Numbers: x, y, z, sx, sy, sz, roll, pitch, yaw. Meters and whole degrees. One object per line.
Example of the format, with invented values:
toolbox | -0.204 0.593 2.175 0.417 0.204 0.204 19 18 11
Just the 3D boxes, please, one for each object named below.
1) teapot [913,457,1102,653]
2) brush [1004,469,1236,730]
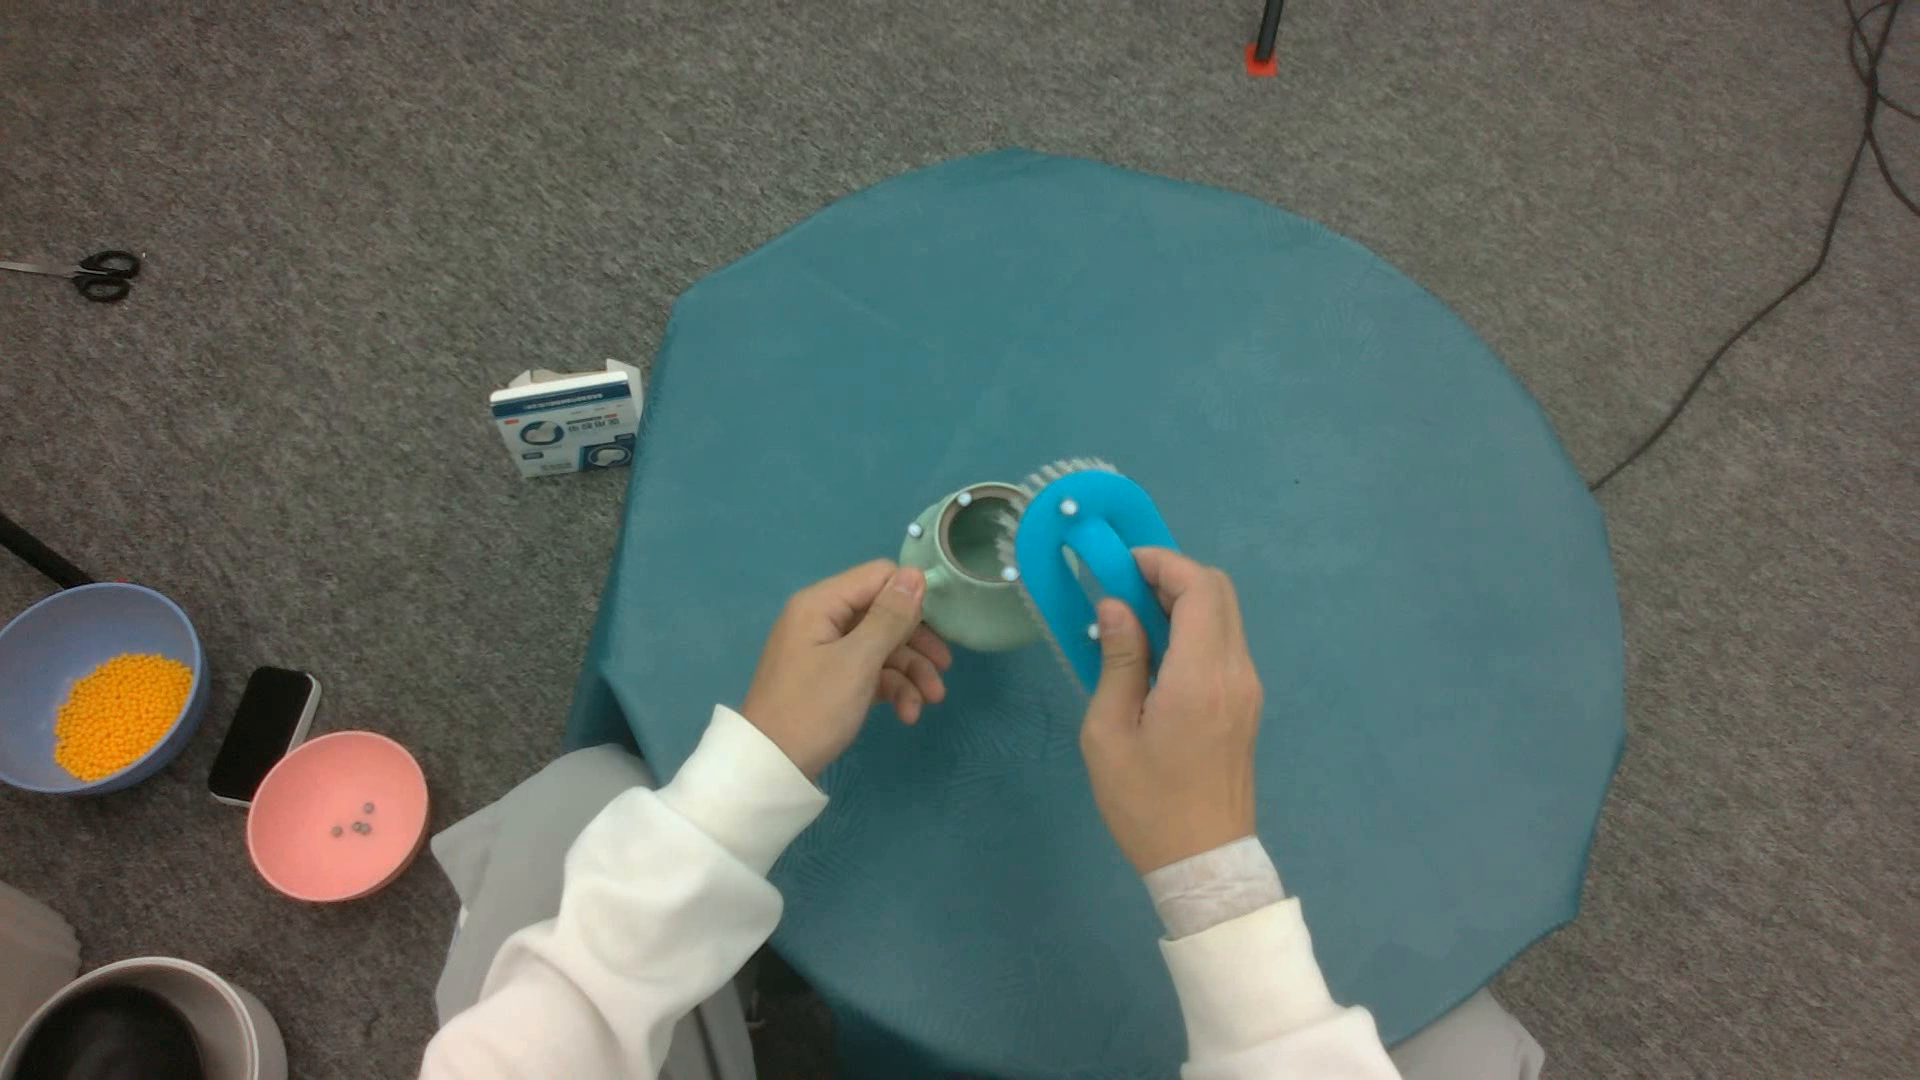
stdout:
teapot | 0.025 0.012 0.739 0.137 0.061 0.096 -40 73 -20
brush | 0.086 0.029 0.668 0.084 0.064 0.141 -37 108 -11
